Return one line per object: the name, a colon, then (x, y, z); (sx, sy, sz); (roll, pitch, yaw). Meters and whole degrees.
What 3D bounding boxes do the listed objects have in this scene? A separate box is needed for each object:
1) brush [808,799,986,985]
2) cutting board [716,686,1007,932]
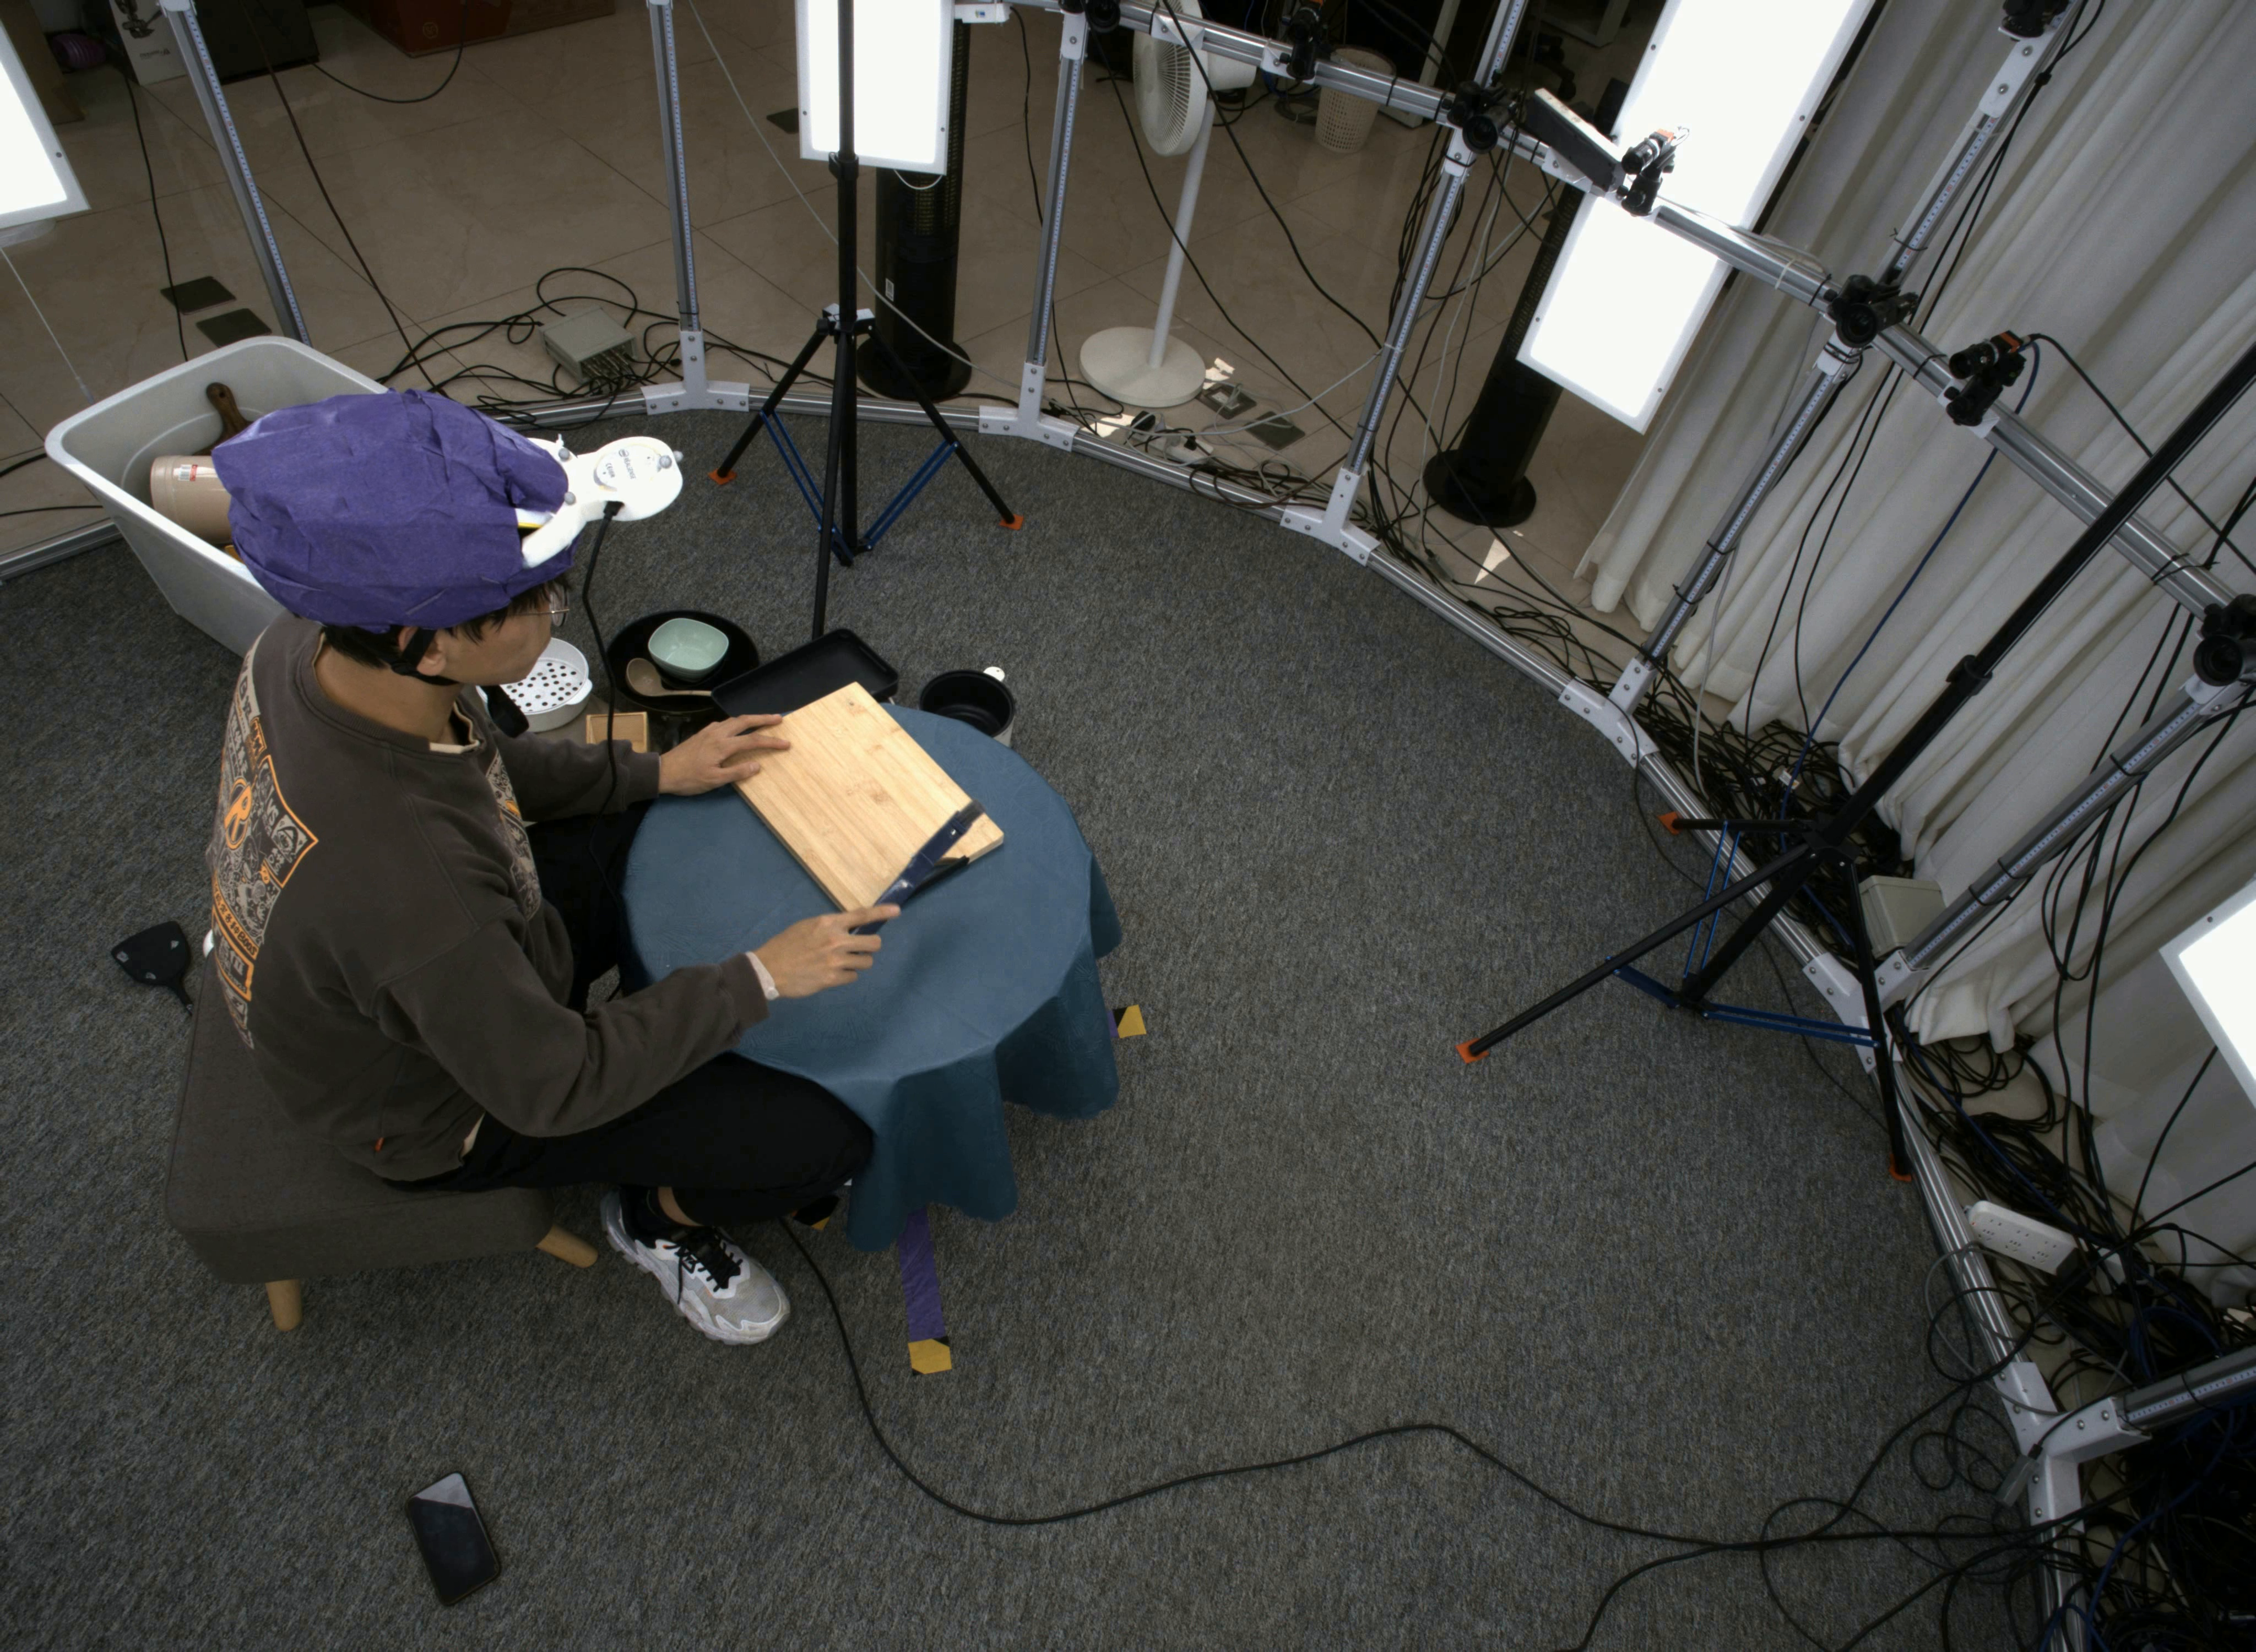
brush: (-0.273, 0.073, 1.544); (0.034, 0.094, 0.272); (45, 58, -14)
cutting board: (-0.363, -0.033, 1.767); (0.251, 0.024, 0.340); (-35, 68, -31)
